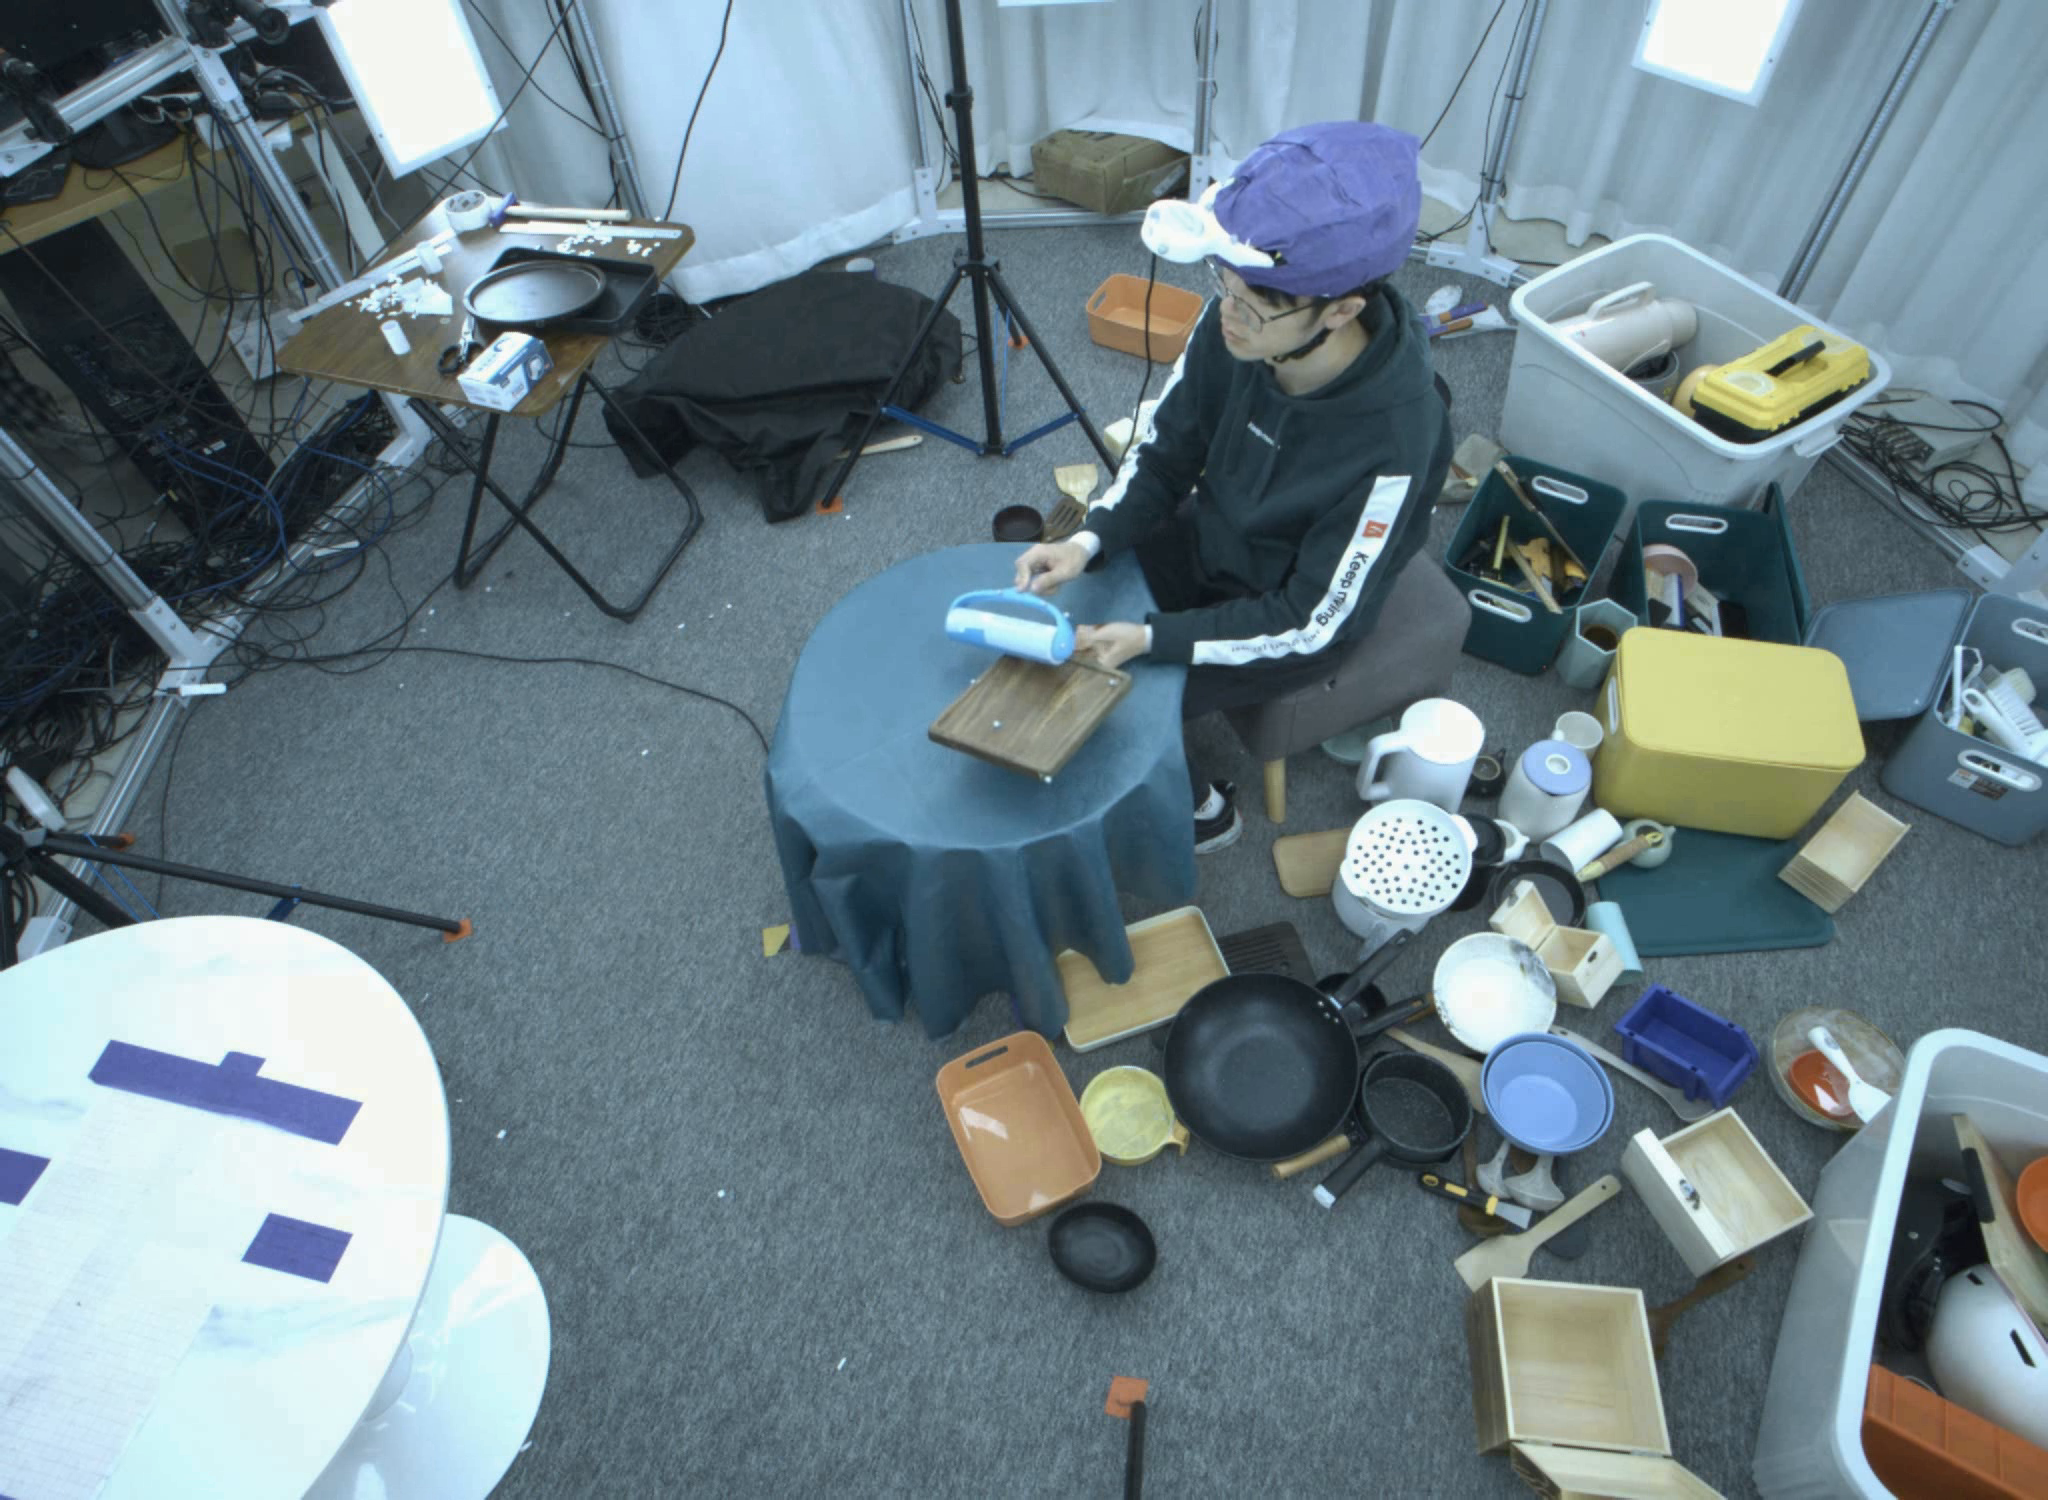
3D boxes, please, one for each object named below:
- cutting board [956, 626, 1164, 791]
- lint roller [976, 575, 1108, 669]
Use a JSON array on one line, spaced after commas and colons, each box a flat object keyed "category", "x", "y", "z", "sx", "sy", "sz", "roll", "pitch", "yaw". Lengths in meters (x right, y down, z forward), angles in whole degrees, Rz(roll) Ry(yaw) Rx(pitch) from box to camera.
[{"category": "cutting board", "x": 0.080, "y": -0.080, "z": 1.743, "sx": 0.198, "sy": 0.023, "sz": 0.354, "roll": 22, "pitch": 45, "yaw": 23}, {"category": "lint roller", "x": 0.051, "y": -0.209, "z": 1.807, "sx": 0.224, "sy": 0.069, "sz": 0.180, "roll": 14, "pitch": 60, "yaw": 34}]
